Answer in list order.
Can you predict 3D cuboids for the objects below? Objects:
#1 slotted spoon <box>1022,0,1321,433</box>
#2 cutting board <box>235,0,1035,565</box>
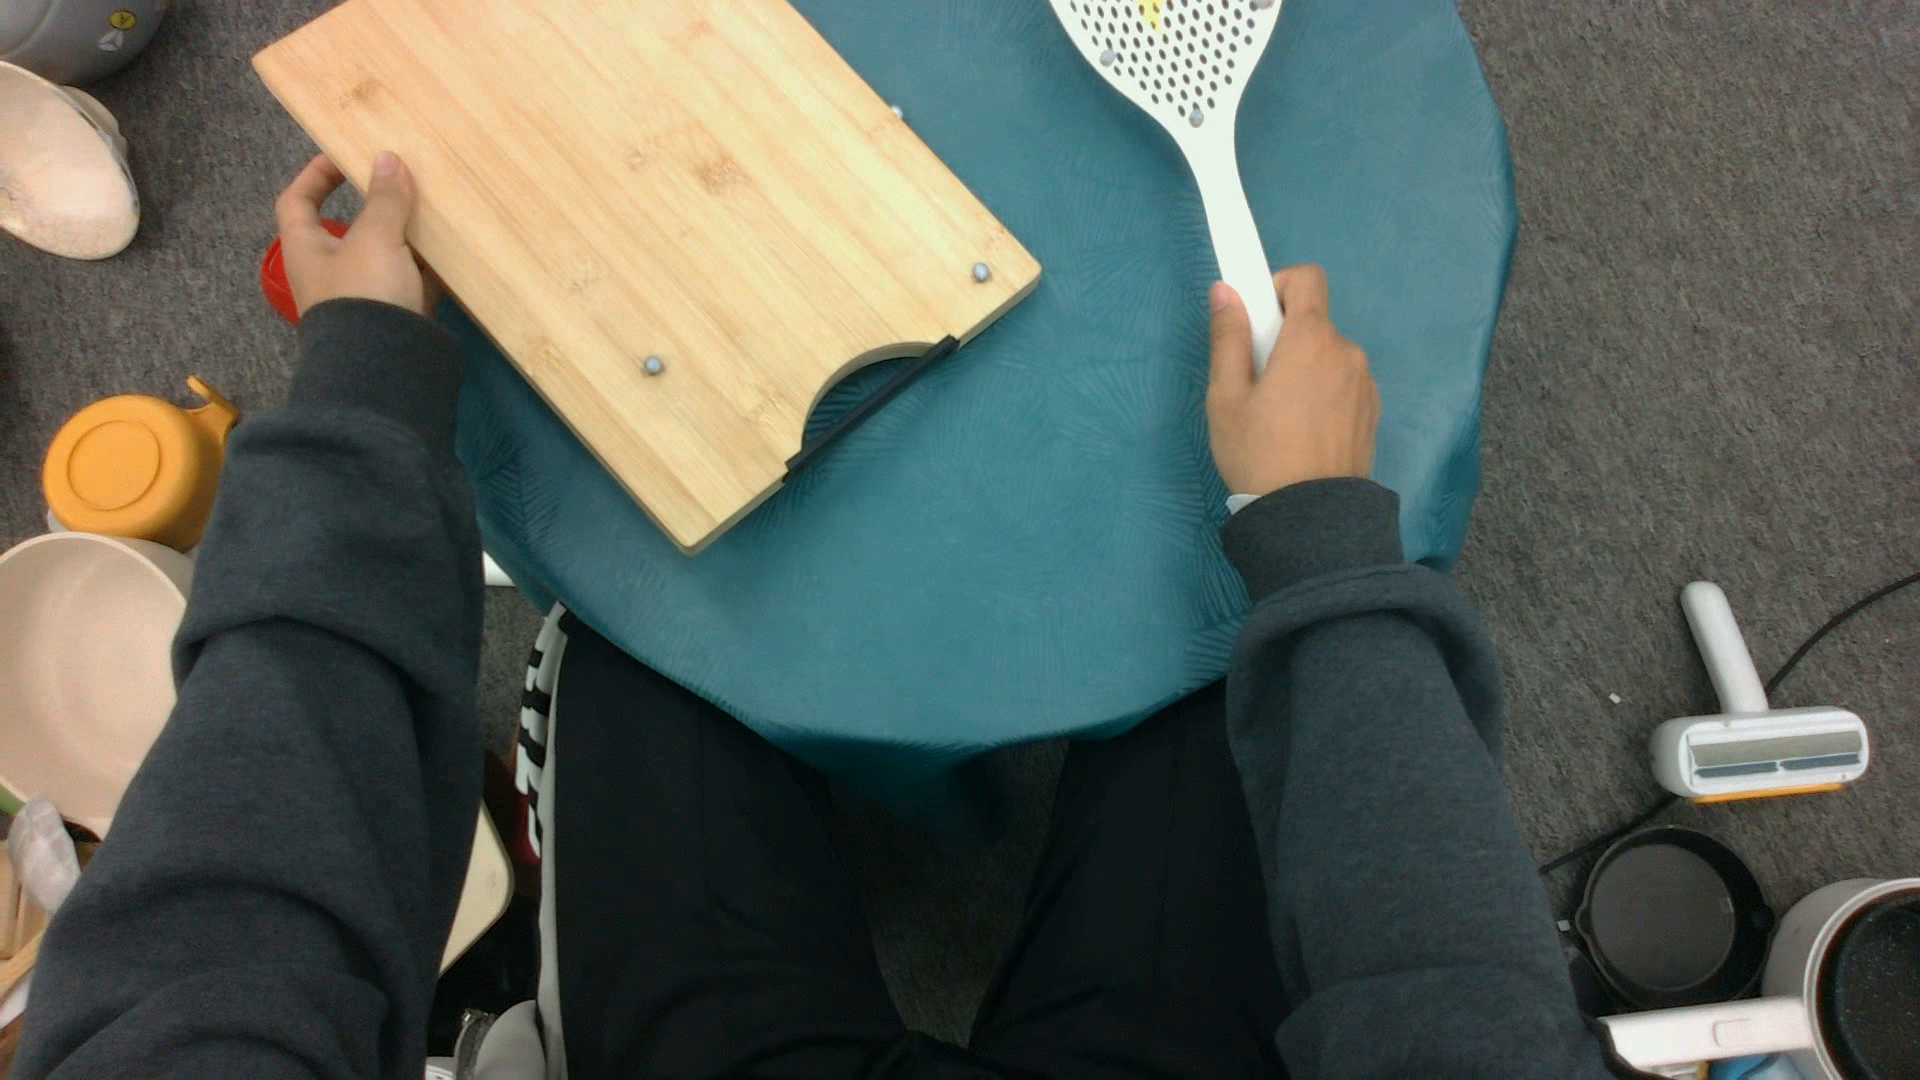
[{"bbox_3d":[0.120,-0.219,0.716,0.136,0.050,0.348,-17,73,8],"label":"slotted spoon"},{"bbox_3d":[-0.163,-0.189,0.714,0.251,0.023,0.349,-42,82,-19],"label":"cutting board"}]
